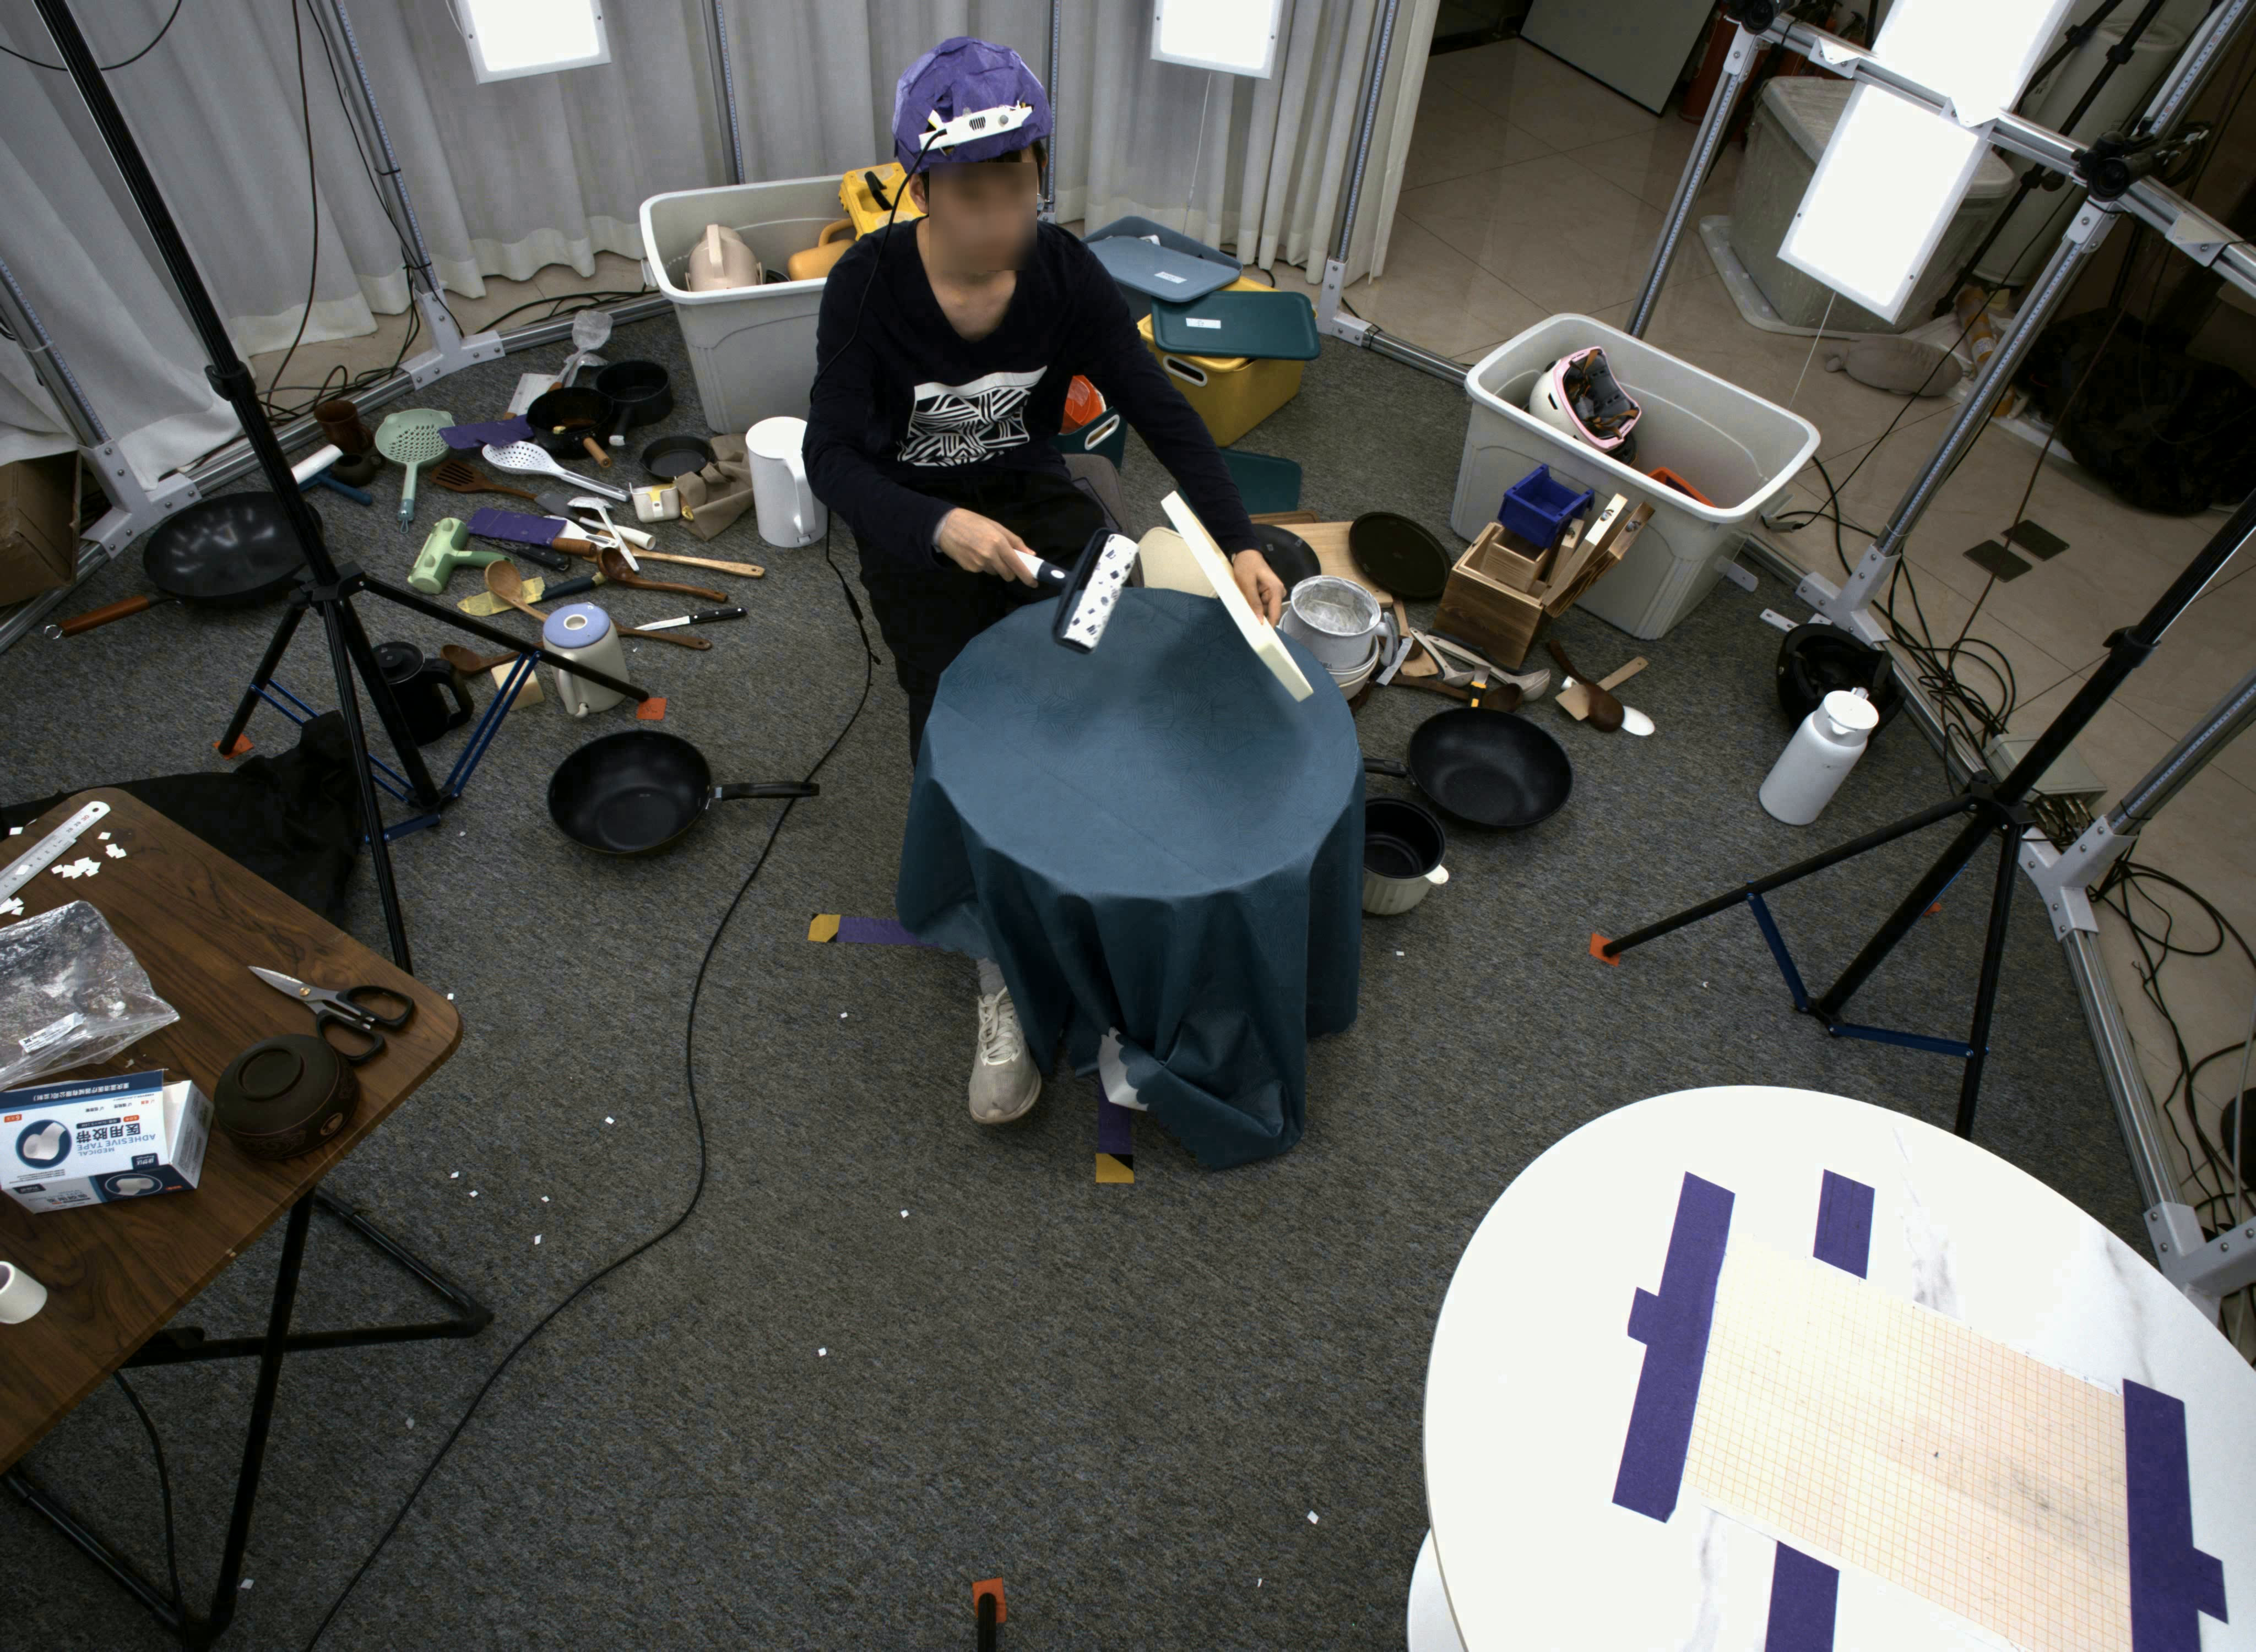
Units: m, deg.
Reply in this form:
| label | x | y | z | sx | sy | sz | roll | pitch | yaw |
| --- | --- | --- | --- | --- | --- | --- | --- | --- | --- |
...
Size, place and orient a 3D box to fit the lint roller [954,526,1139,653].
| label | x | y | z | sx | sy | sz | roll | pitch | yaw |
| --- | --- | --- | --- | --- | --- | --- | --- | --- | --- |
| lint roller | -0.128 | -0.358 | 1.784 | 0.248 | 0.050 | 0.177 | 21 | 80 | 8 |

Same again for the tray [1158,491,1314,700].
| label | x | y | z | sx | sy | sz | roll | pitch | yaw |
| --- | --- | --- | --- | --- | --- | --- | --- | --- | --- |
| tray | 0.149 | -0.318 | 1.773 | 0.027 | 0.188 | 0.307 | -36 | 57 | 15 |
